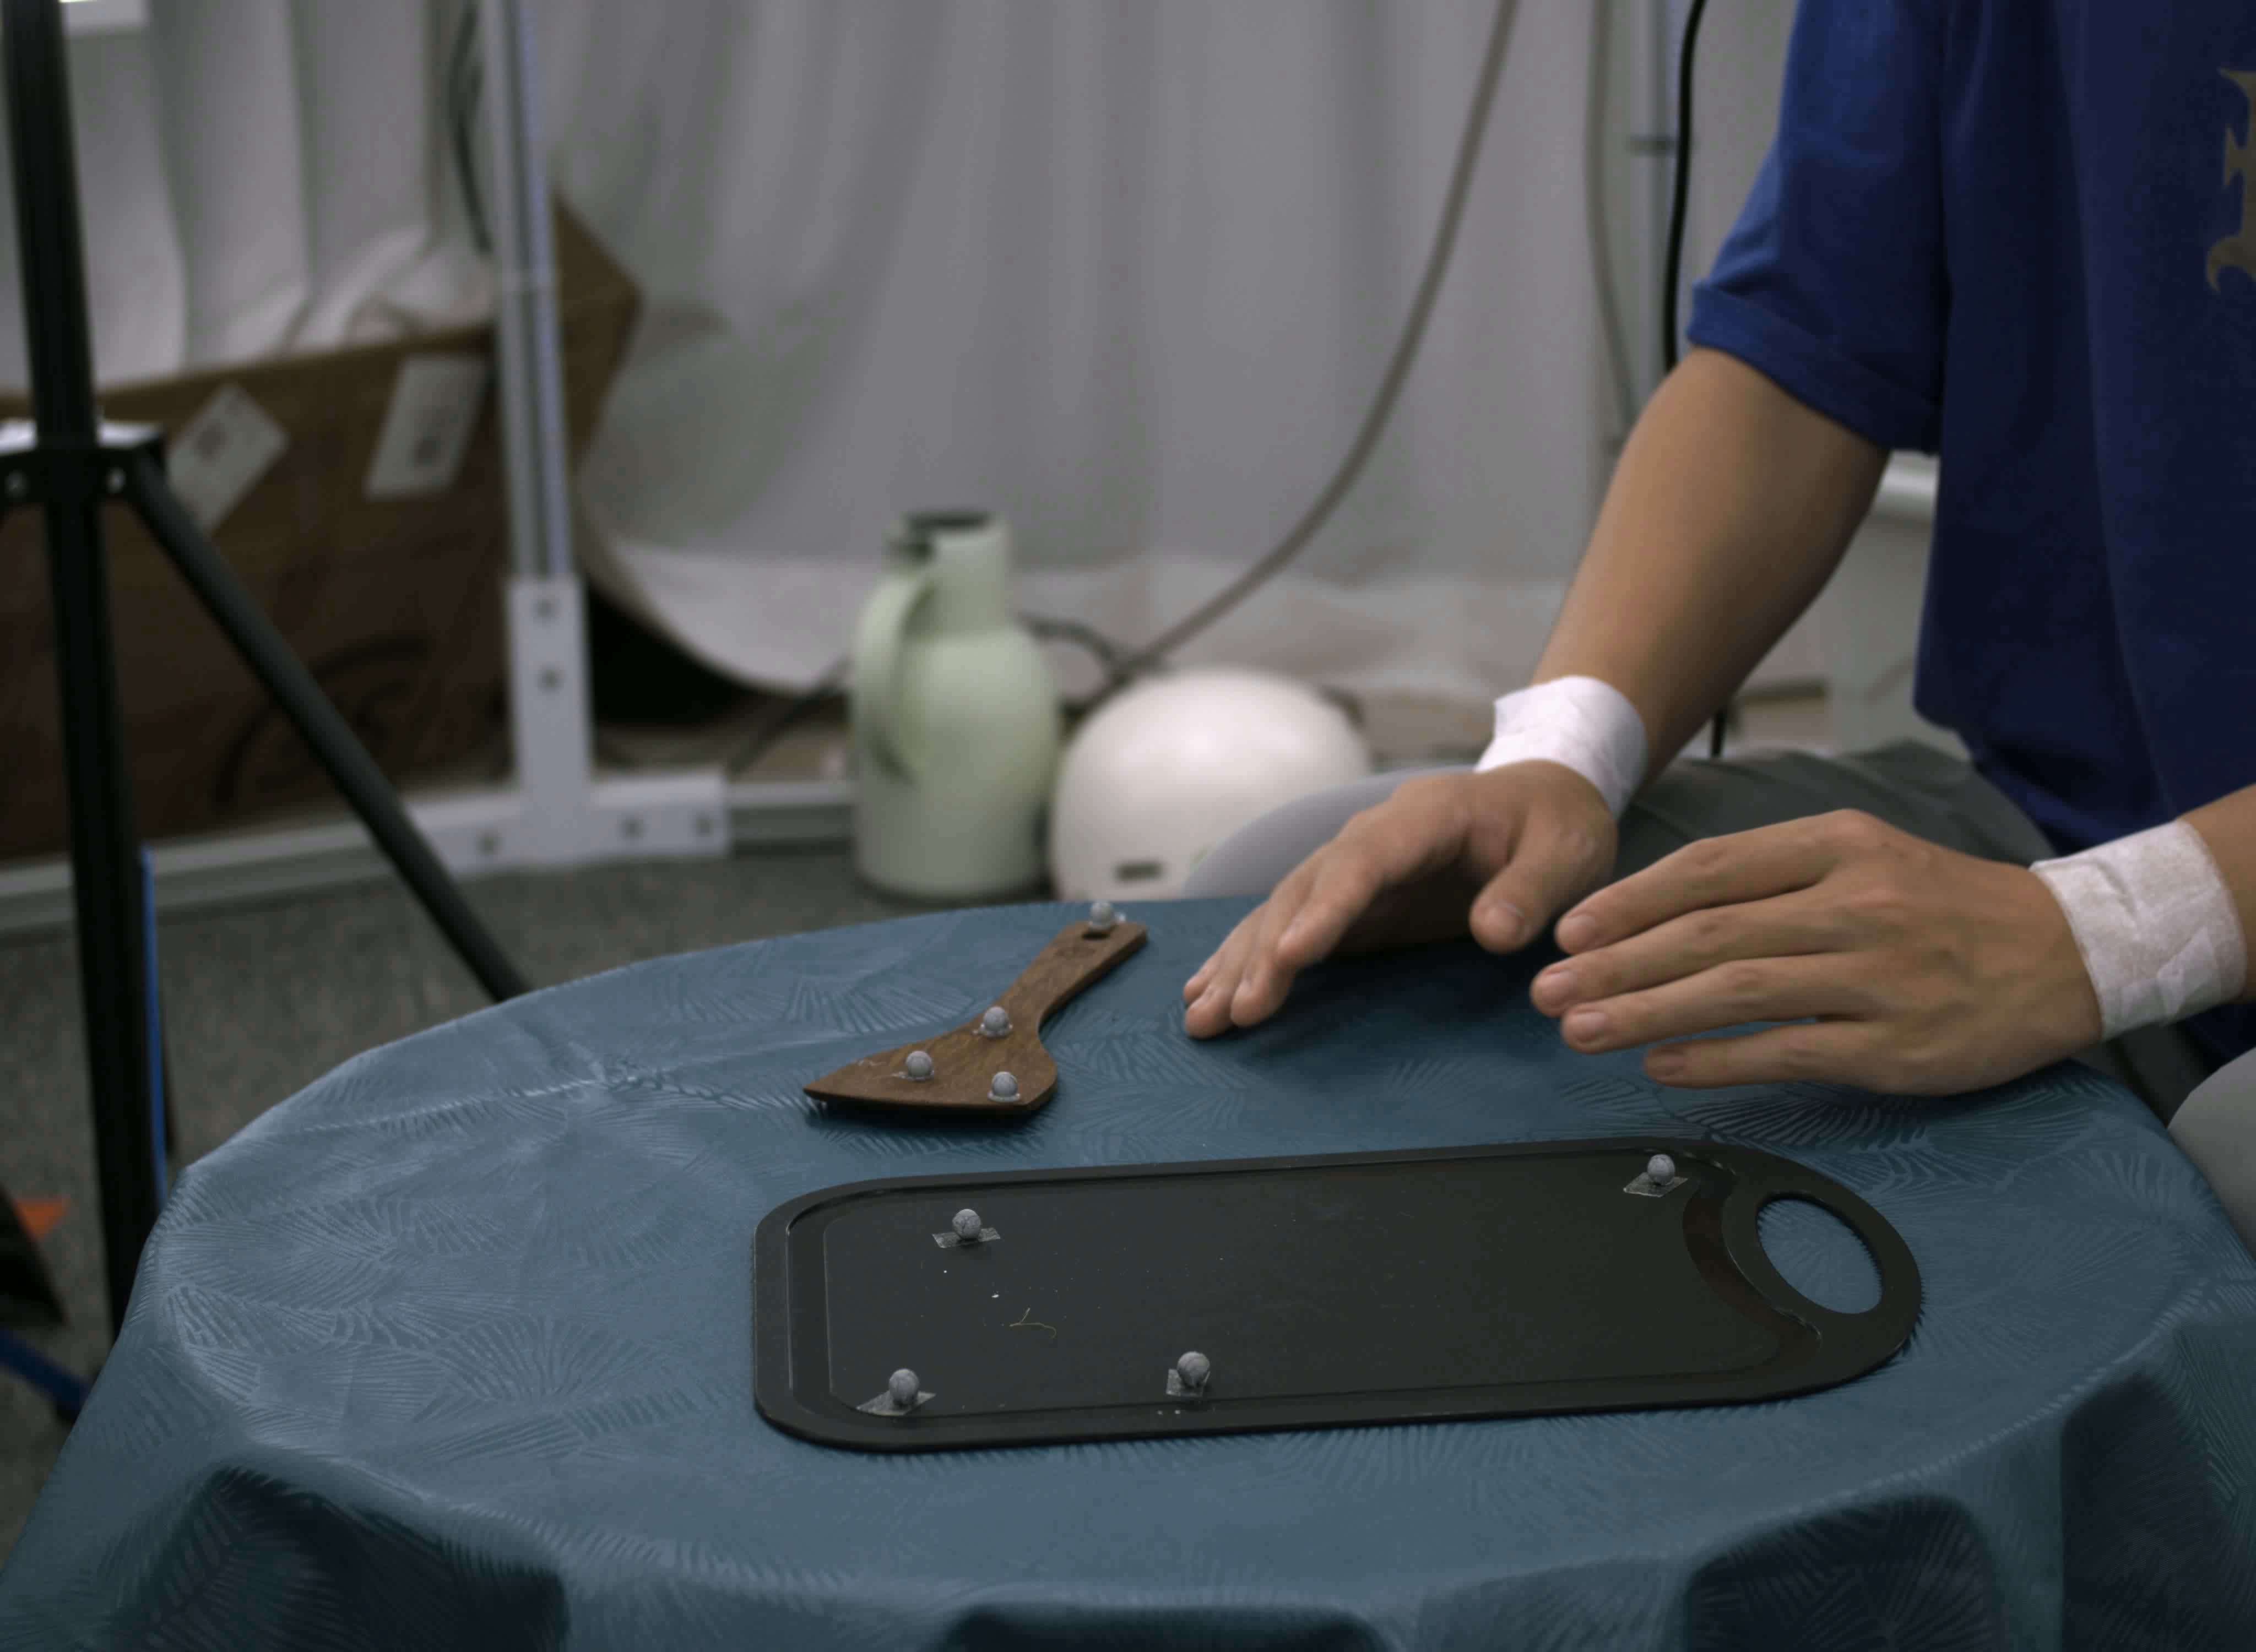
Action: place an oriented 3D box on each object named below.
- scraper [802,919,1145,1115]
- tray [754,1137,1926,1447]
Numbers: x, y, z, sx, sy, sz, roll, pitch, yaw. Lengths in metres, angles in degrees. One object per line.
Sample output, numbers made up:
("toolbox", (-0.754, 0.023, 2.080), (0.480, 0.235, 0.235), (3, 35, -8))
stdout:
("scraper", (-0.037, 0.061, 1.714), (0.076, 0.011, 0.209), (4, 16, 18))
("tray", (0.058, 0.125, 1.475), (0.323, 0.010, 0.212), (-3, 16, -1))
